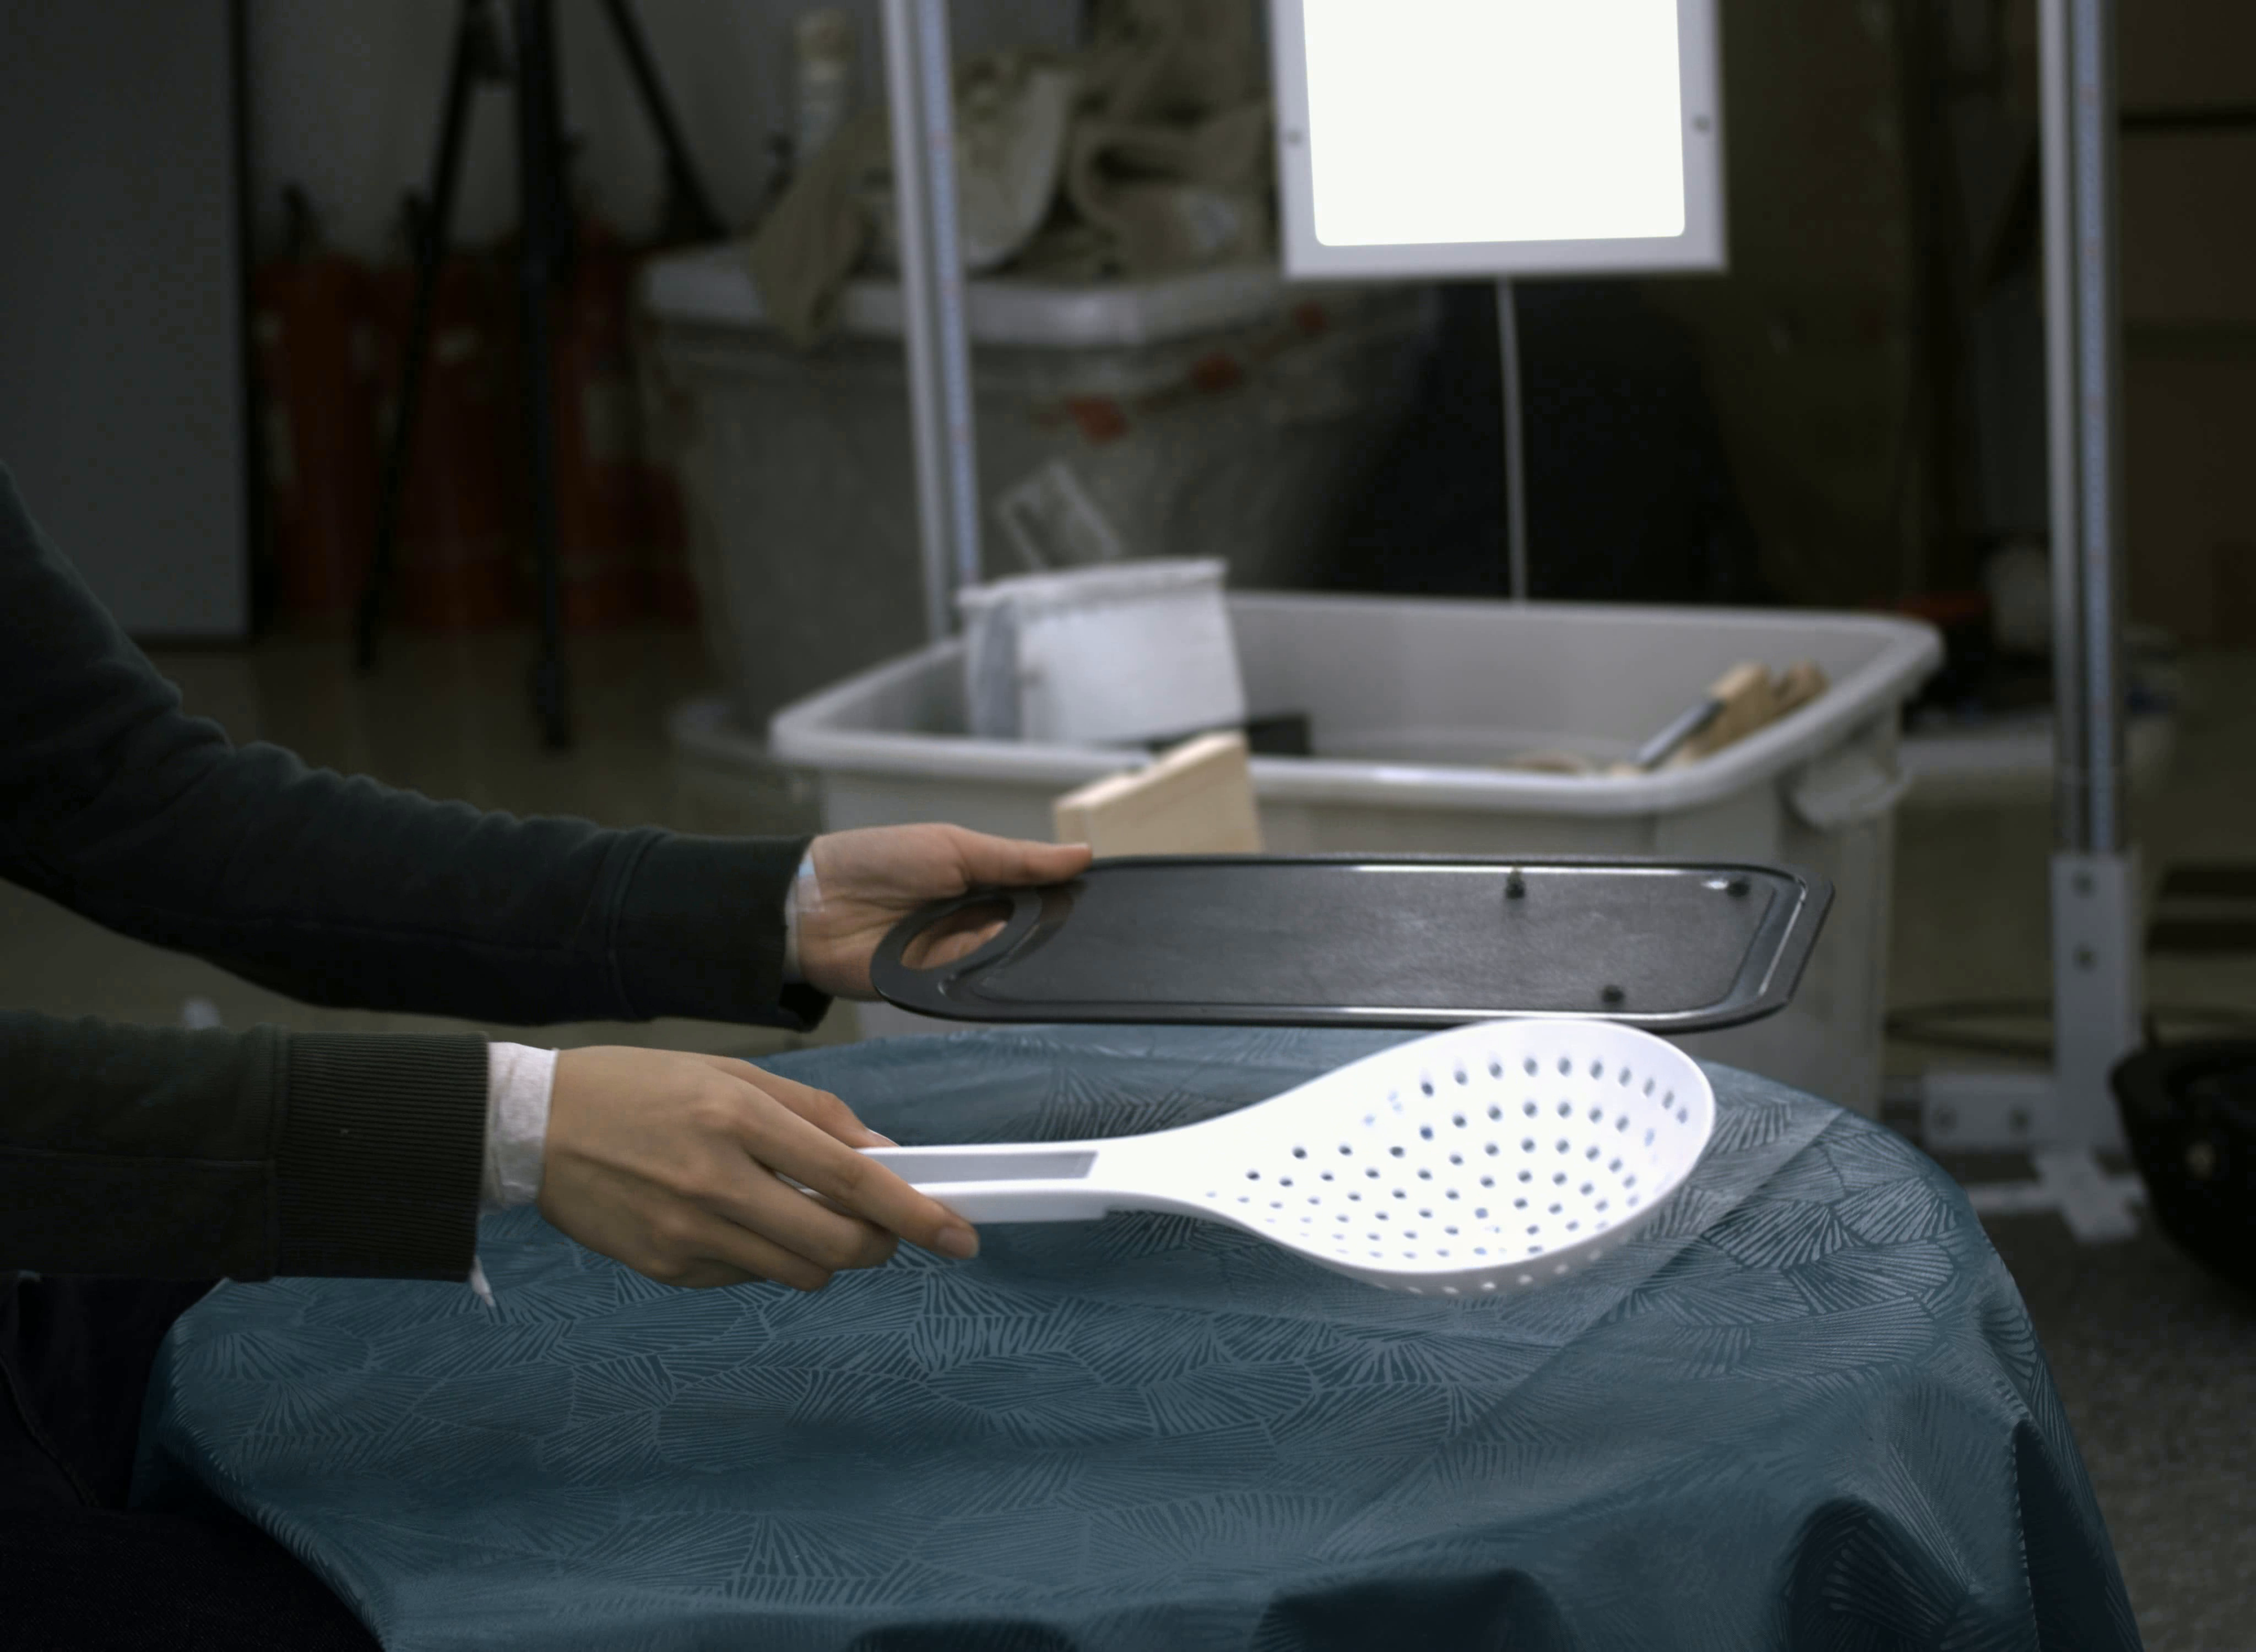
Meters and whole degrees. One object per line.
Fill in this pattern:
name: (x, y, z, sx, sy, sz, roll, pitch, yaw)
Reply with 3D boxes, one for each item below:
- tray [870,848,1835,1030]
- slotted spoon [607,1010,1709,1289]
tray: (0.073, 0.035, 1.881, 0.329, 0.010, 0.208, 0, 15, 16)
slotted spoon: (0.004, 0.103, 1.658, 0.354, 0.046, 0.134, 0, 30, 20)
